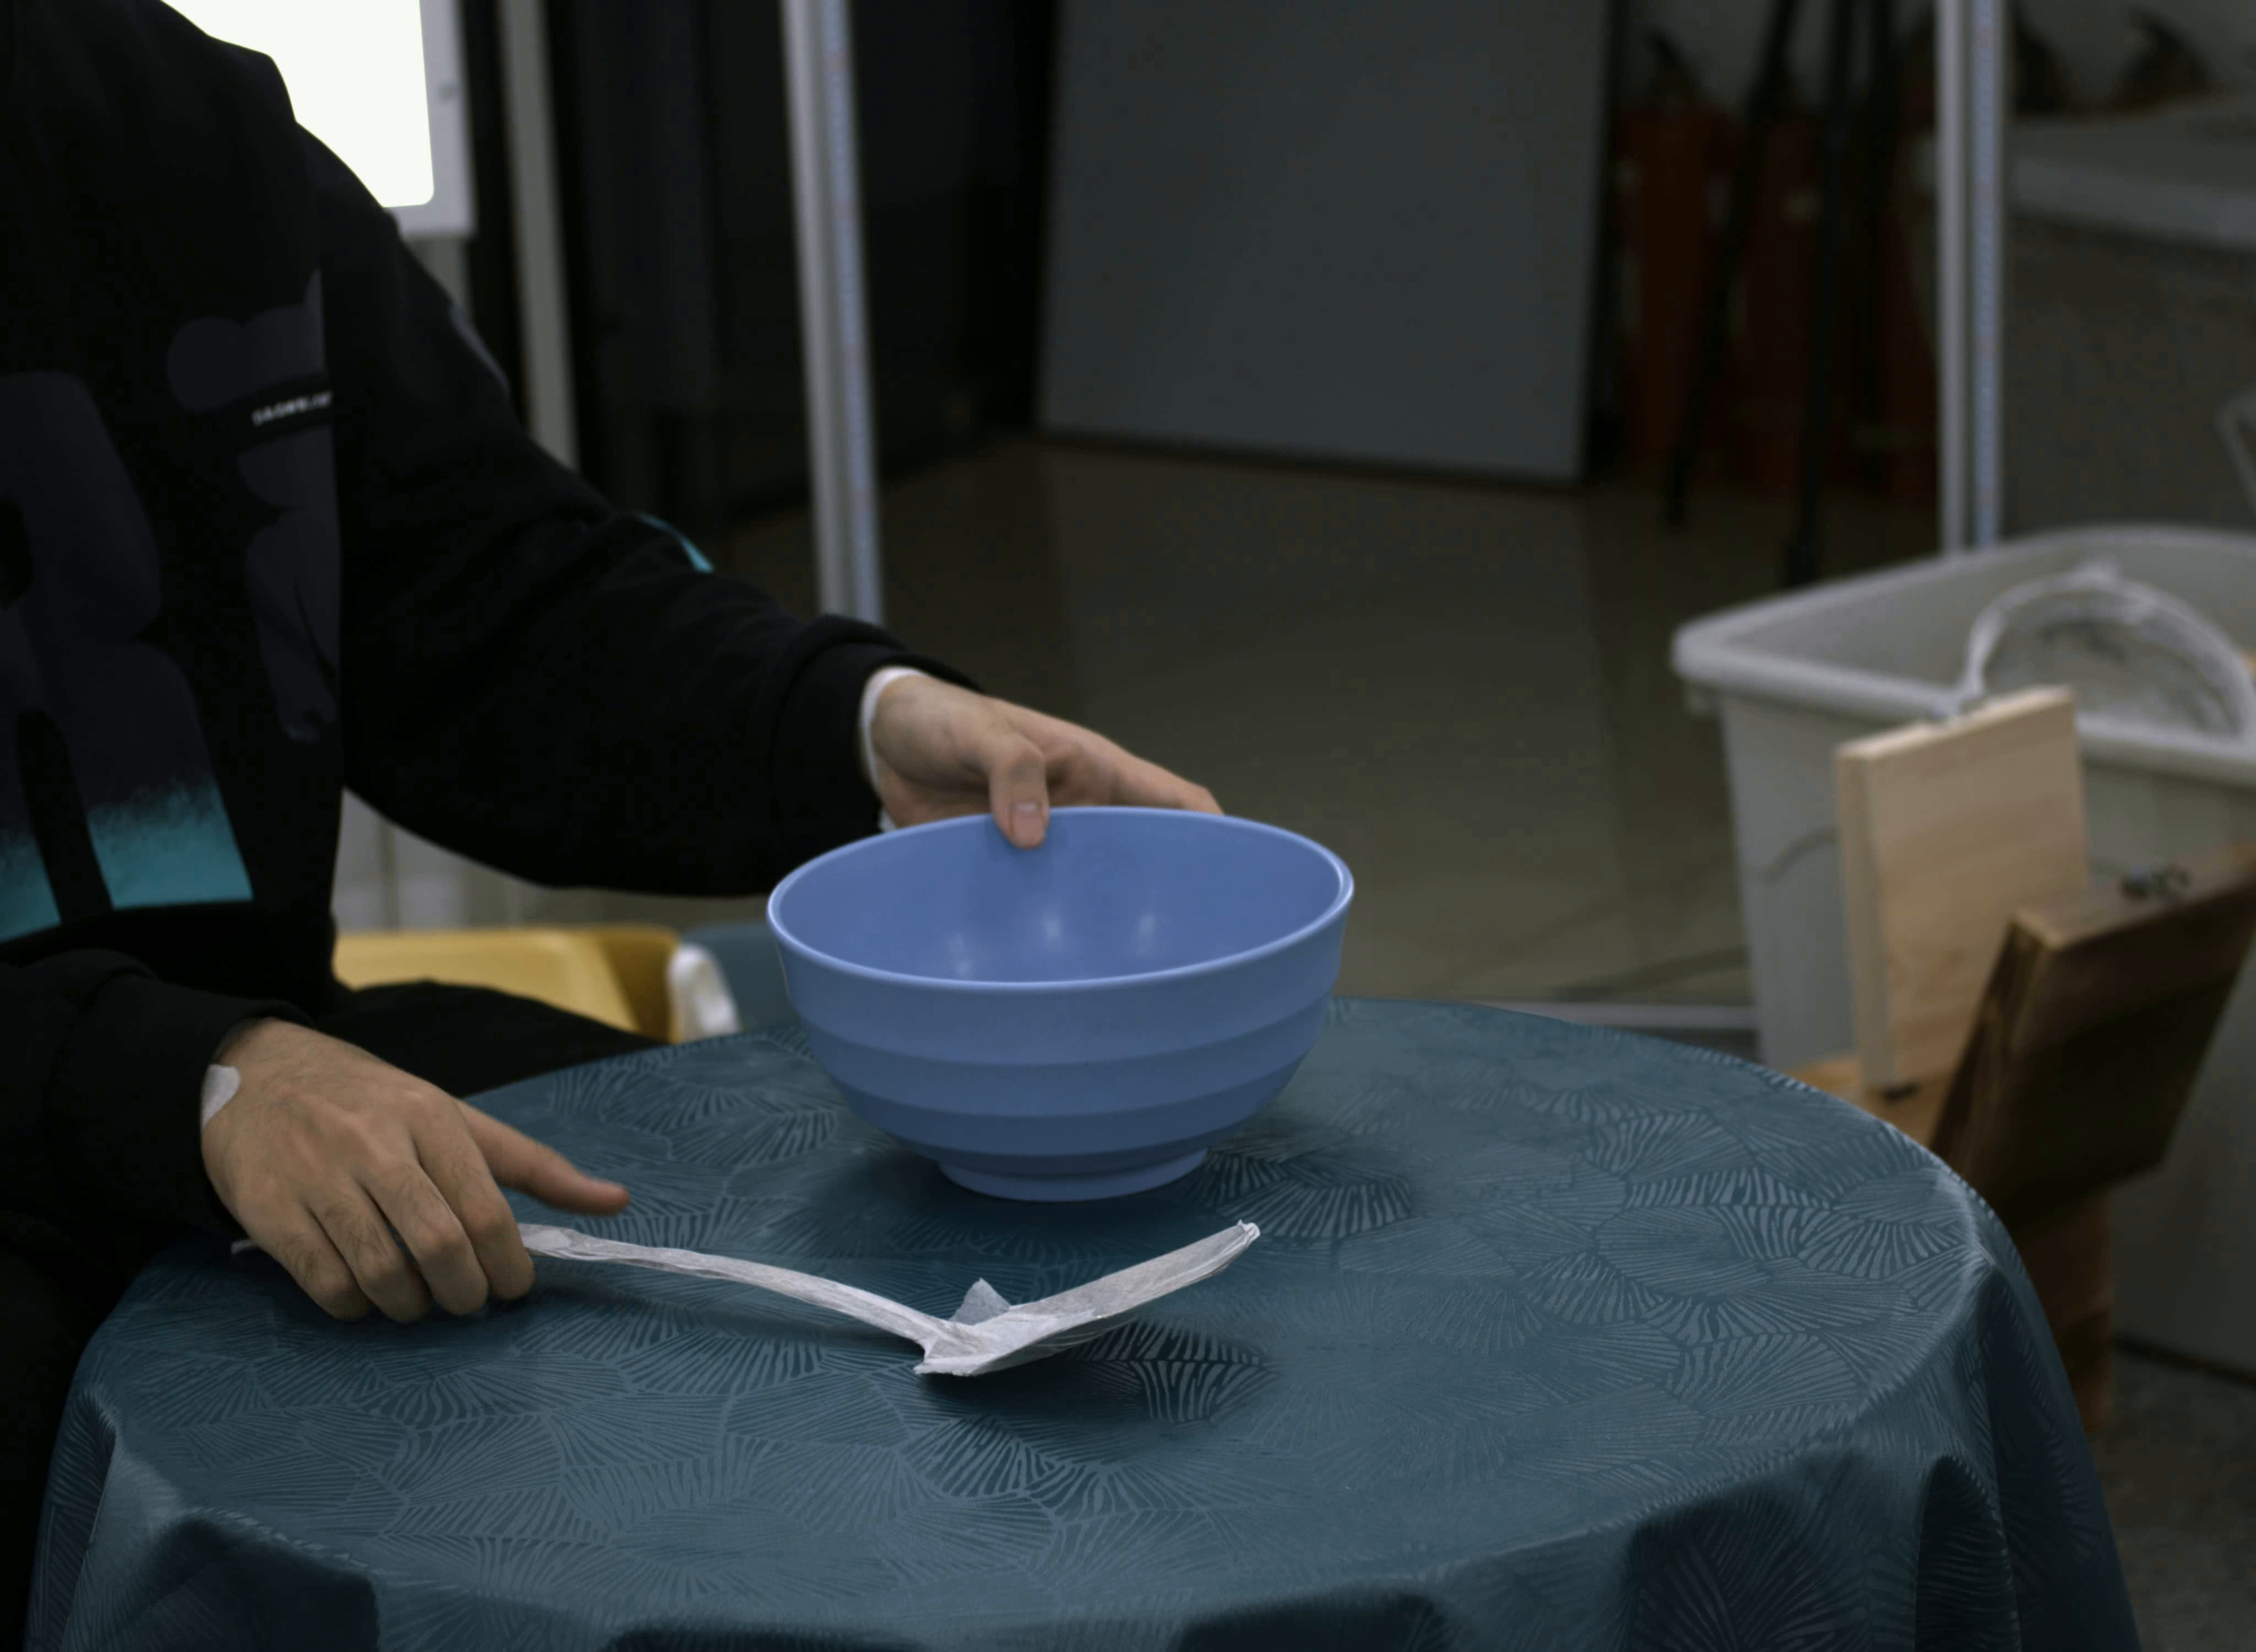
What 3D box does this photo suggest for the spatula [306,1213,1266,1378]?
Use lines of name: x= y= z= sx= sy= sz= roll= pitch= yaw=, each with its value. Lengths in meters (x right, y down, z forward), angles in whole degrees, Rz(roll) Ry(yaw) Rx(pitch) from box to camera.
spatula: x=-0.124 y=0.134 z=1.676 sx=0.367 sy=0.045 sz=0.097 roll=5 pitch=18 yaw=33

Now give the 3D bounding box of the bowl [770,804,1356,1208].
bowl: x=-0.019 y=0.066 z=1.794 sx=0.194 sy=0.096 sz=0.197 roll=-3 pitch=16 yaw=0
